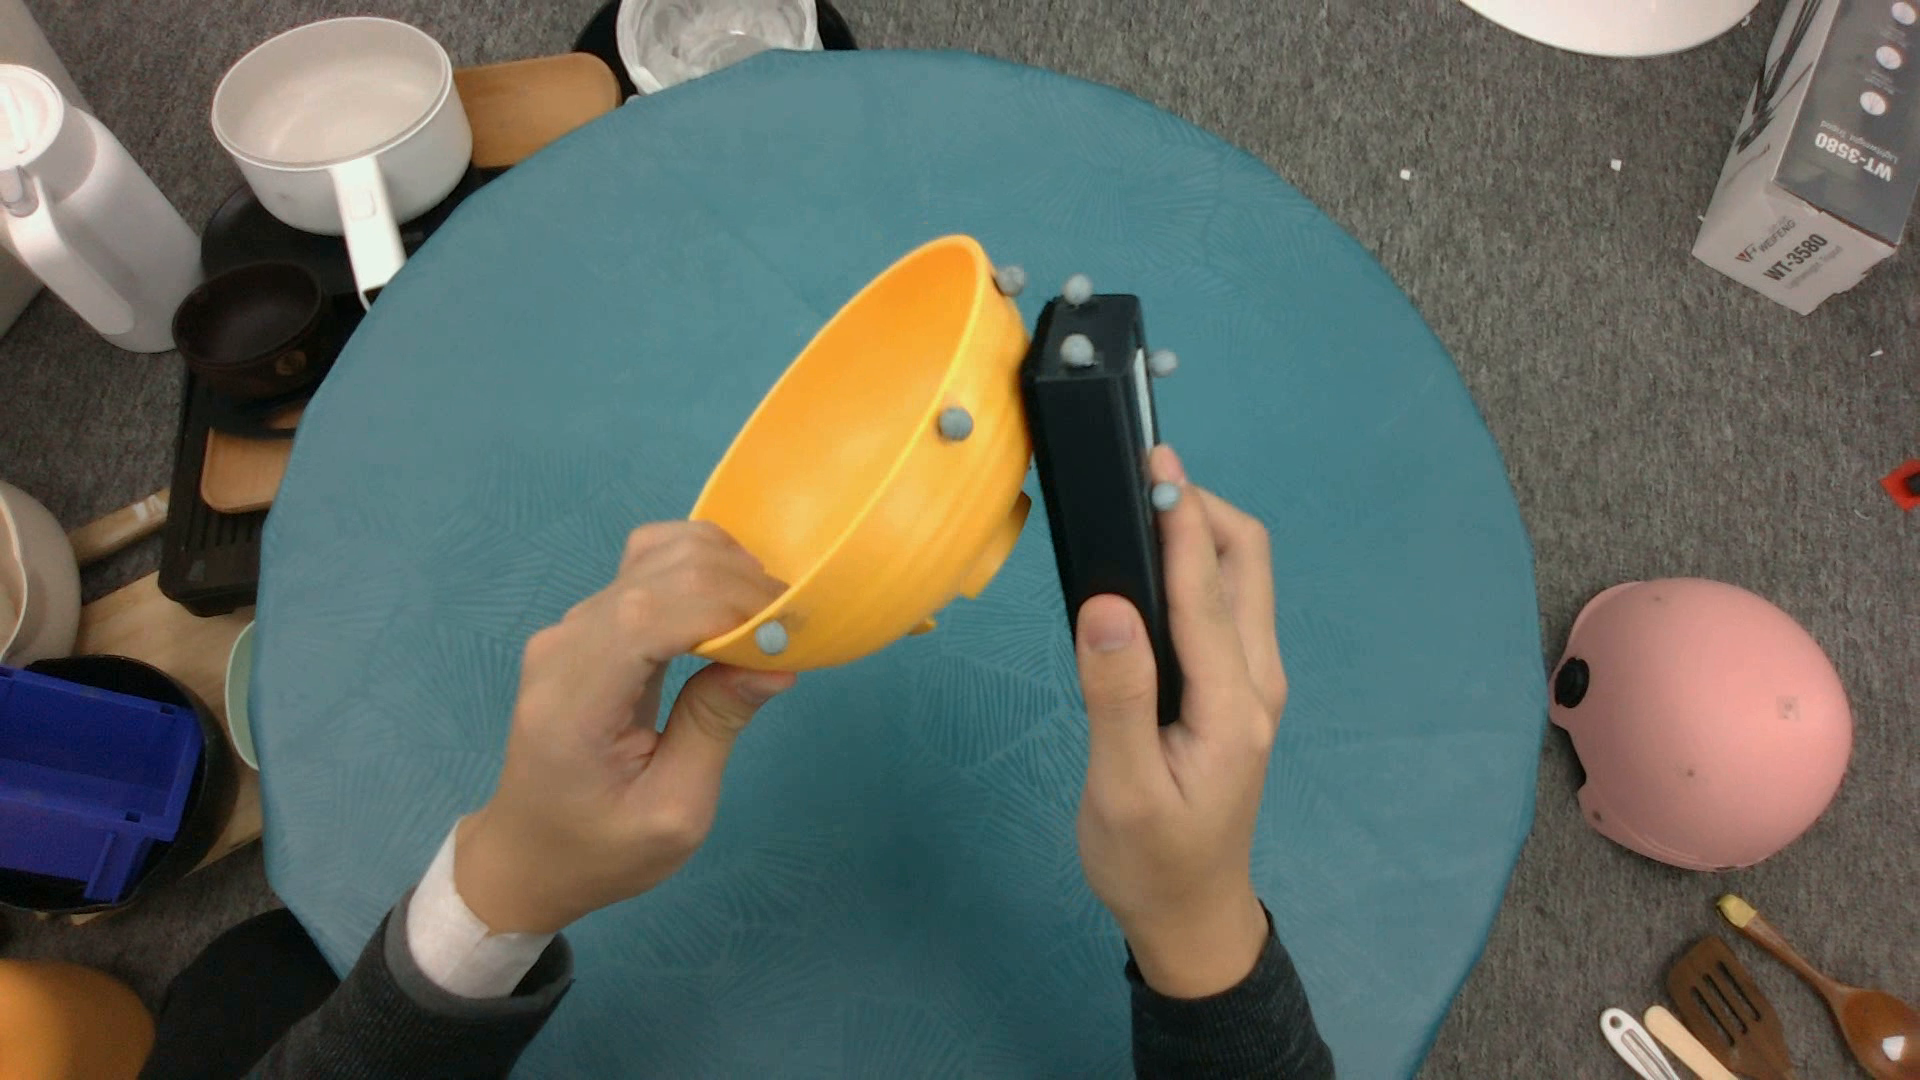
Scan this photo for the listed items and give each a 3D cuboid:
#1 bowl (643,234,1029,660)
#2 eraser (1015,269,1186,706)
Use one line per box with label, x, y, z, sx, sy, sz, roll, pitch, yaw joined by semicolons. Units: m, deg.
bowl;-0.025;-0.017;0.409;0.060;0.145;0.146;39;68;-23
eraser;0.045;-0.014;0.414;0.030;0.125;0.054;-2;34;18
